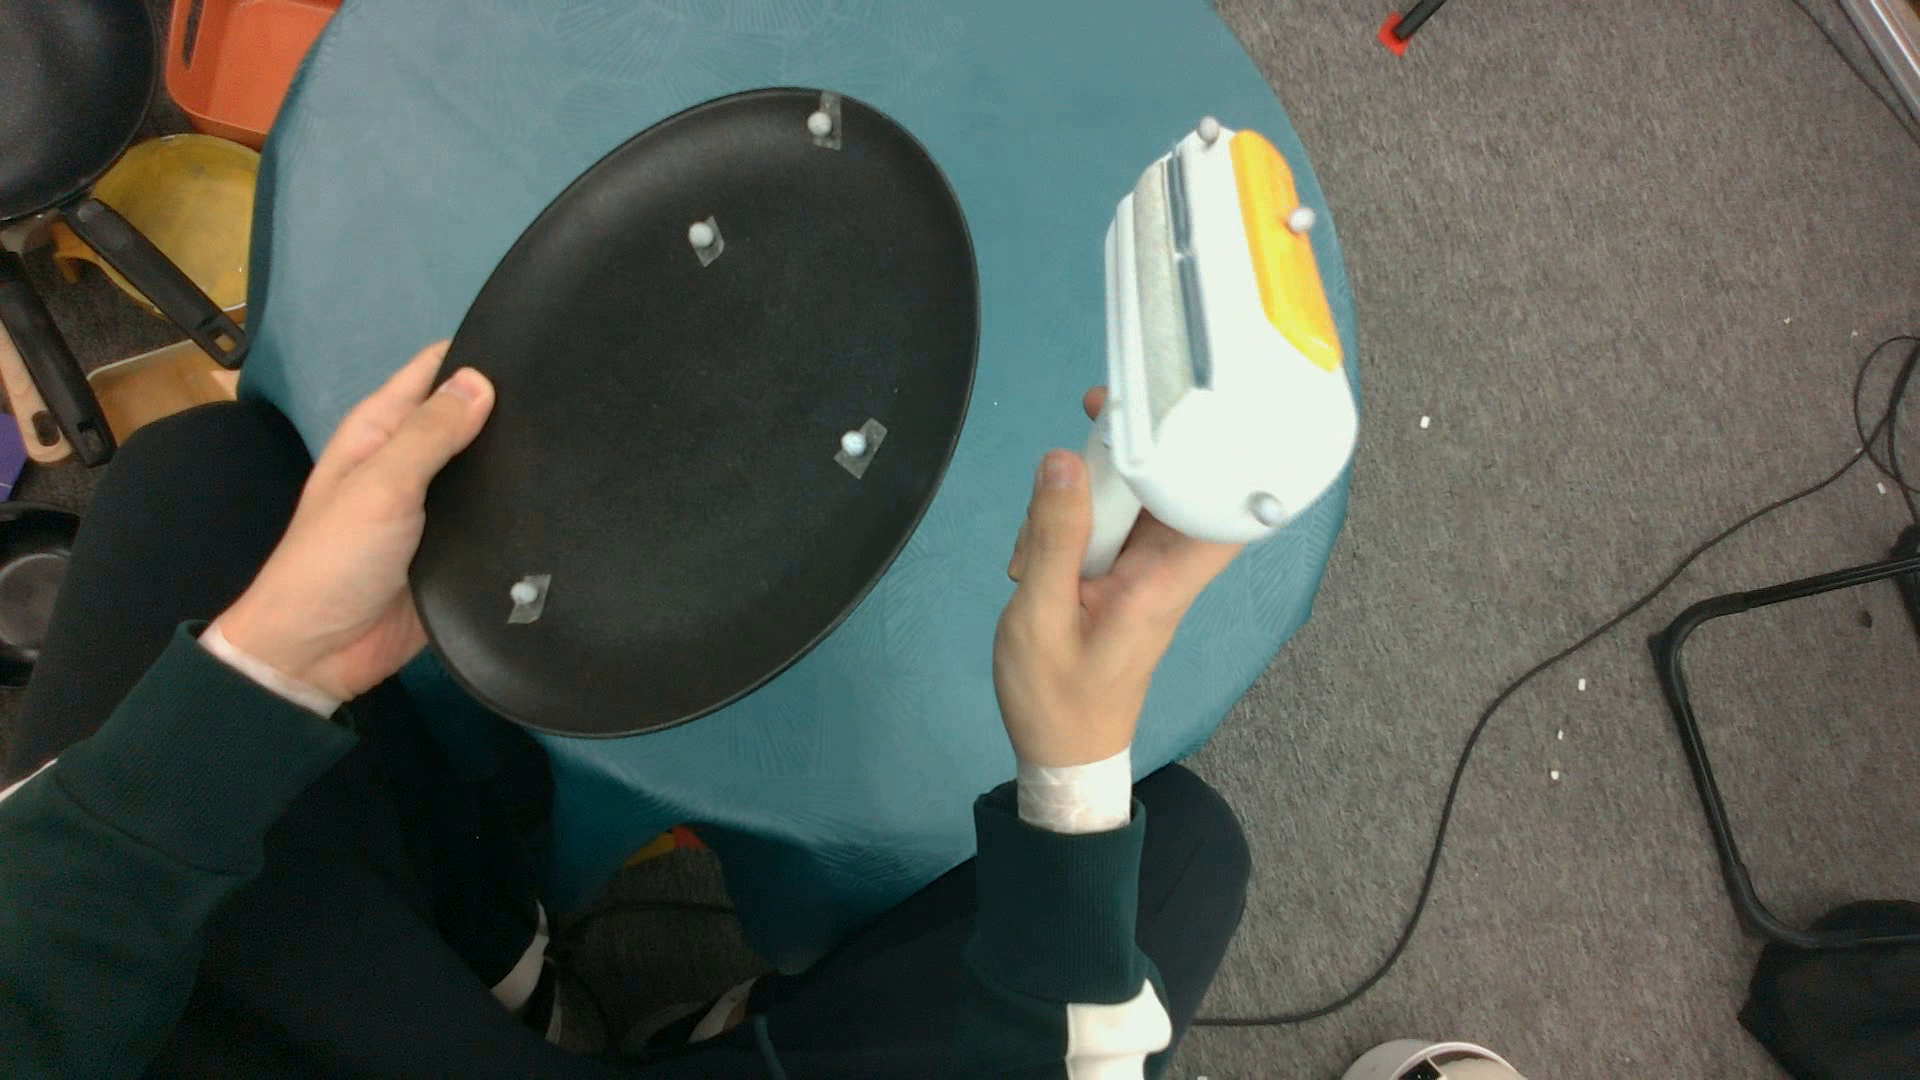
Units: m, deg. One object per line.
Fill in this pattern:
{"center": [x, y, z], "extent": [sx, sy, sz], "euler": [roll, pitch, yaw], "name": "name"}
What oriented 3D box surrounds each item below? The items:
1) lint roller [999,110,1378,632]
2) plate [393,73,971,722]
{"center": [0.058, -0.038, 0.489], "extent": [0.074, 0.191, 0.194], "euler": [24, 40, -24], "name": "lint roller"}
{"center": [-0.102, -0.054, 0.483], "extent": [0.023, 0.244, 0.245], "euler": [37, 58, -57], "name": "plate"}
